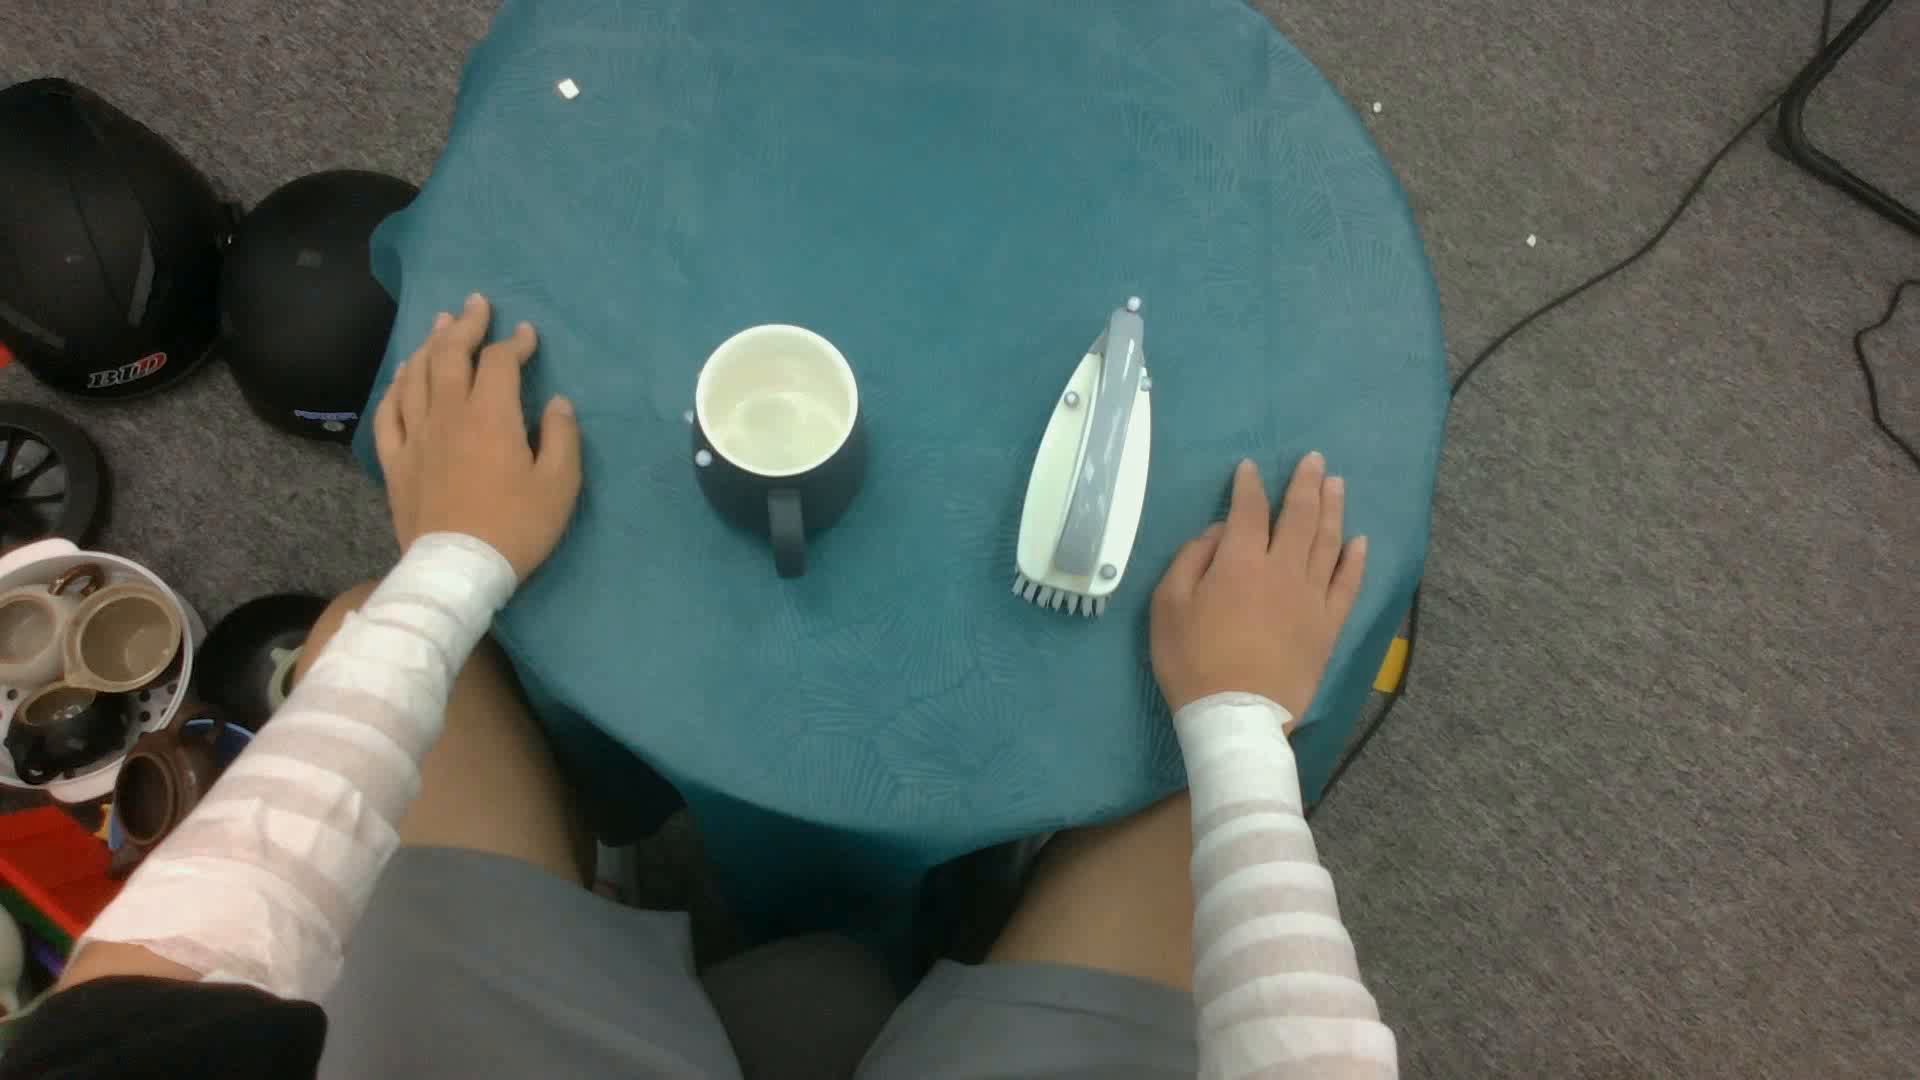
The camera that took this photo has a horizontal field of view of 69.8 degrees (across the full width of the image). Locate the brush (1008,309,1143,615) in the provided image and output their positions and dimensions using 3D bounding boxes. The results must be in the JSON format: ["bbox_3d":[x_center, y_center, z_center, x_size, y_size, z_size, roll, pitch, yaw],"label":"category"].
[{"bbox_3d":[0.072,-0.055,0.740,0.061,0.094,0.176,14,70,-2],"label":"brush"}]

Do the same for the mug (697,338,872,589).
[{"bbox_3d":[-0.091,-0.036,0.718,0.093,0.089,0.123,-5,72,-6],"label":"mug"}]
